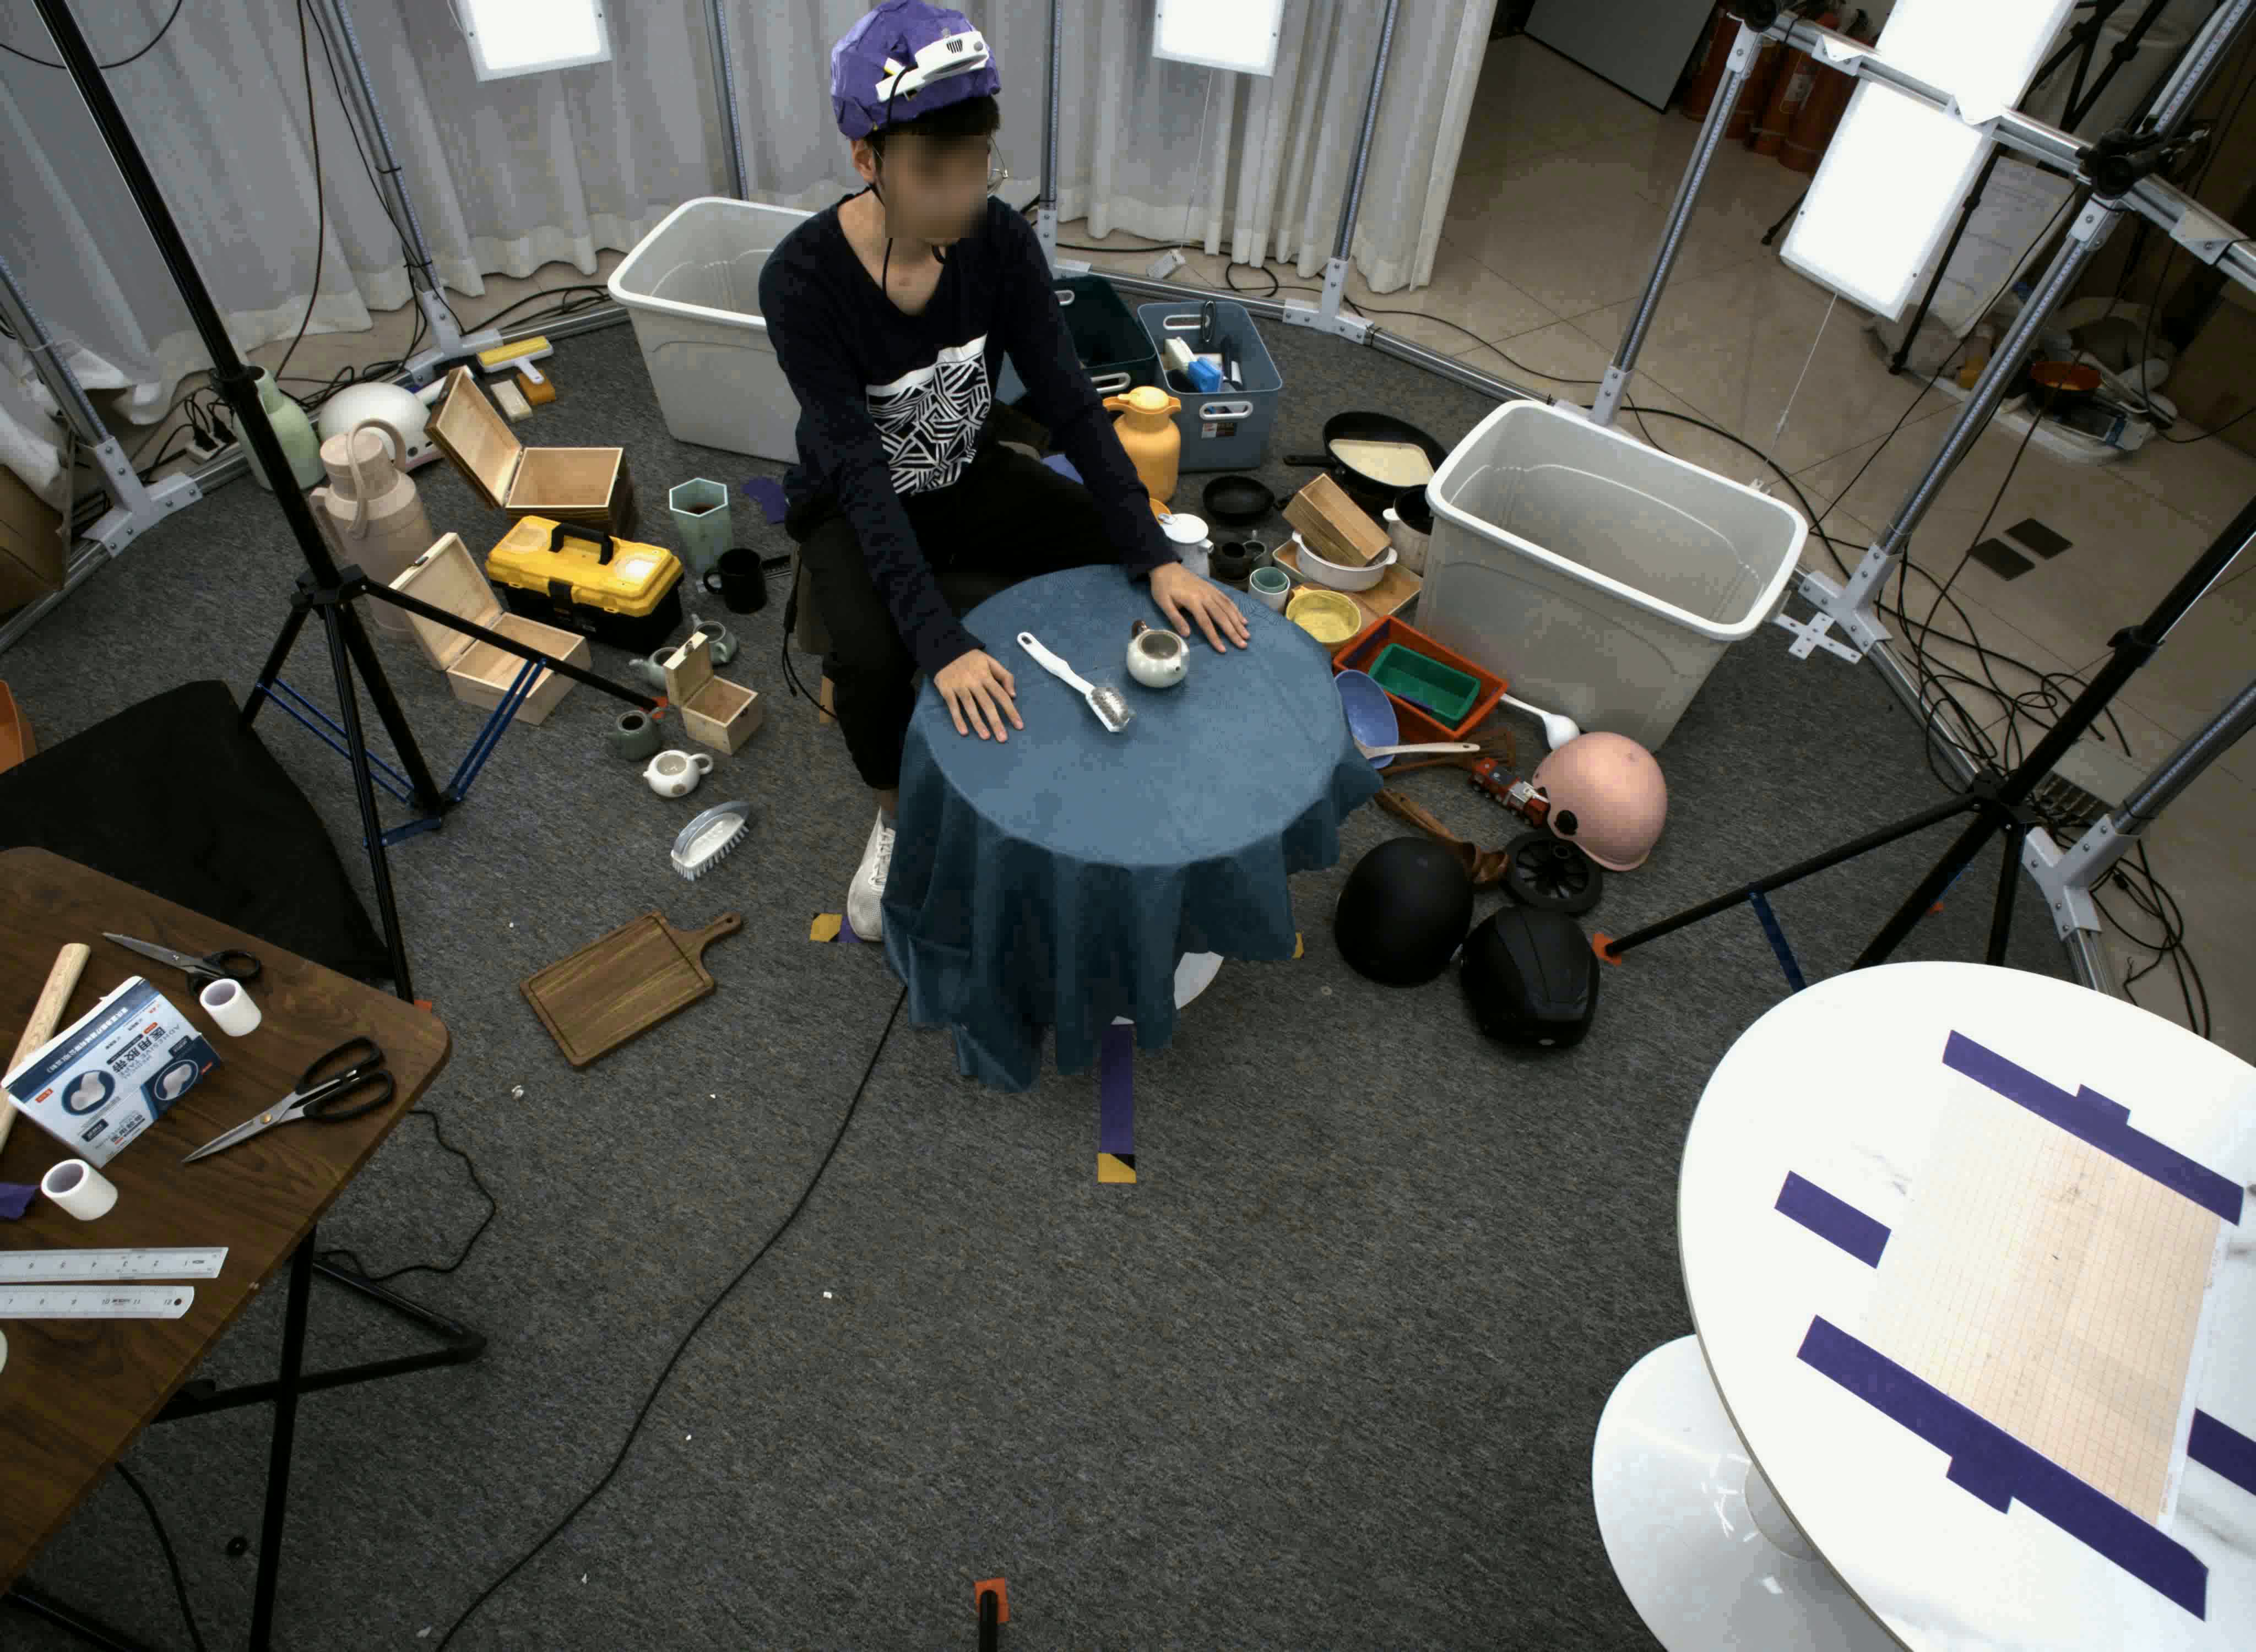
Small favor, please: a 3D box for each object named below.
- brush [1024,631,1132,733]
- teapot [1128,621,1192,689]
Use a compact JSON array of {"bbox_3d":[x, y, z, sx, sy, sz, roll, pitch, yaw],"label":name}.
[{"bbox_3d":[-0.076,-0.219,1.822,0.034,0.049,0.248,-29,57,-21],"label":"brush"},{"bbox_3d":[0.041,-0.245,1.847,0.092,0.058,0.131,-24,56,-18],"label":"teapot"}]
